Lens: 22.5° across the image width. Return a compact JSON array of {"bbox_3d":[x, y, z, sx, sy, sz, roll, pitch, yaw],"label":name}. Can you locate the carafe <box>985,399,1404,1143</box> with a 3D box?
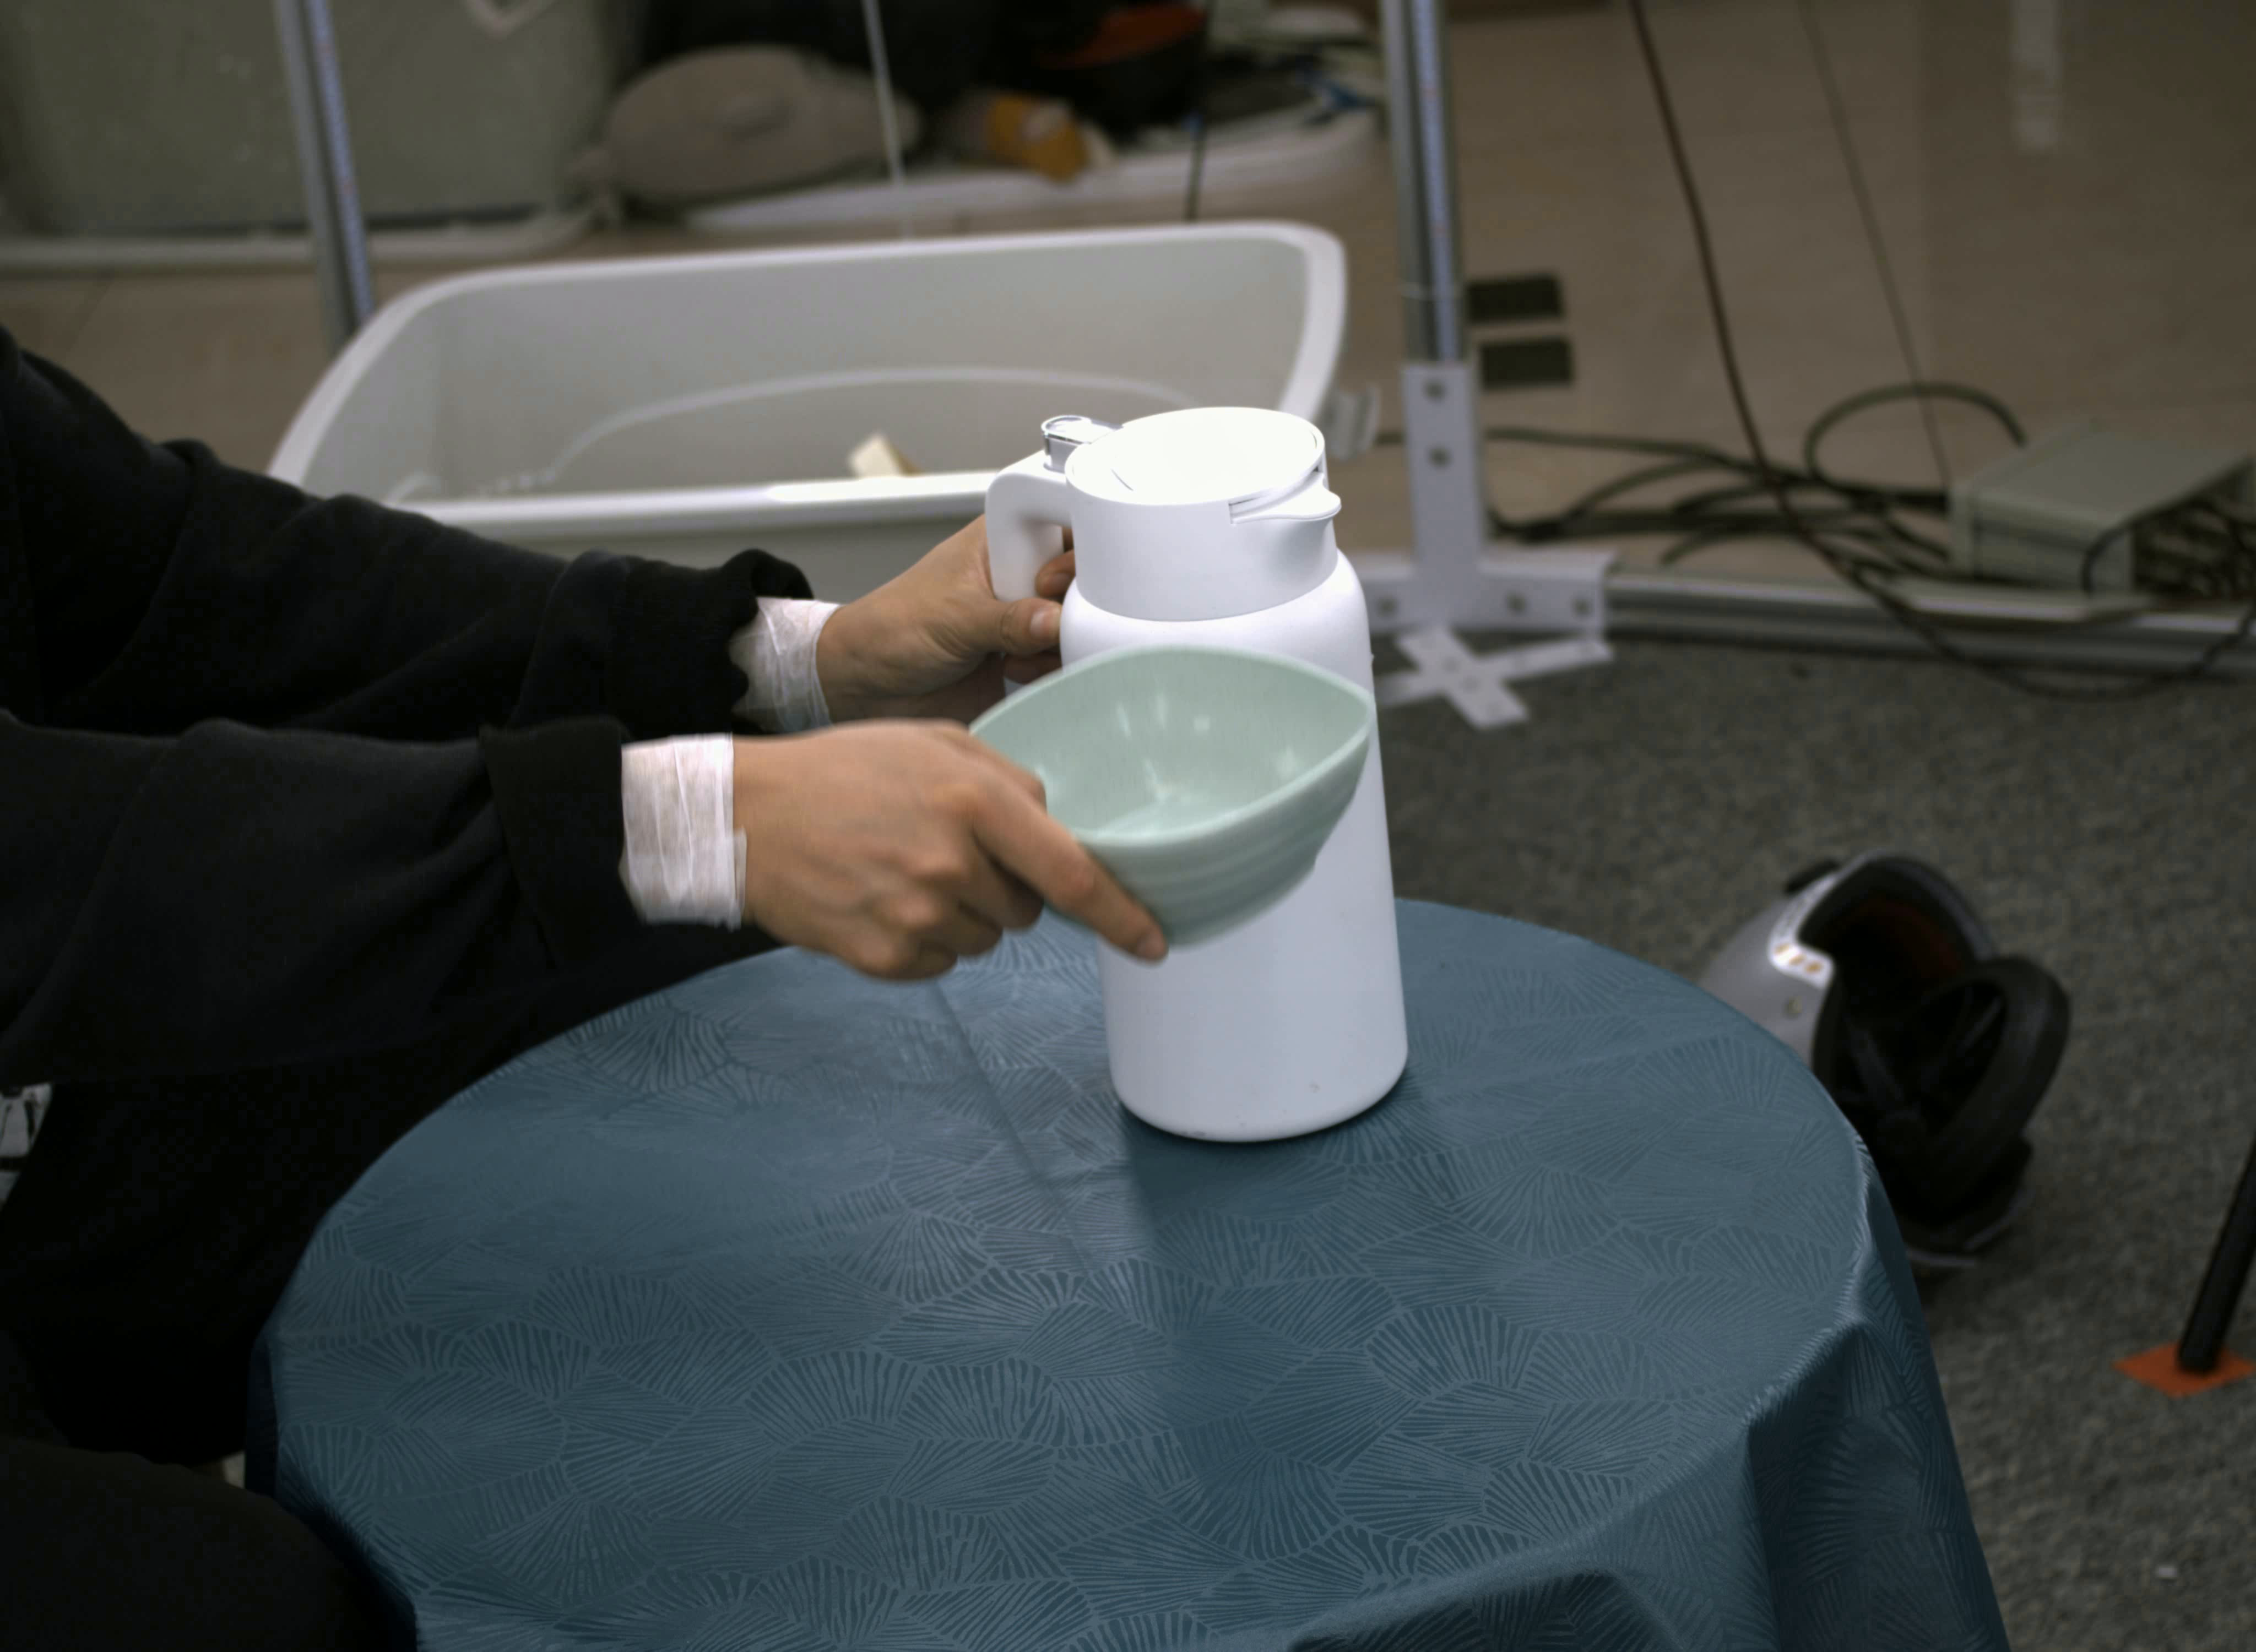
[{"bbox_3d":[0.024,-0.023,2.170,0.171,0.273,0.122,16,36,38],"label":"carafe"}]

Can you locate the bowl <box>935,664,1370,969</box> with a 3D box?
[{"bbox_3d":[0.012,0.002,1.964,0.151,0.059,0.149,-7,28,4],"label":"bowl"}]
